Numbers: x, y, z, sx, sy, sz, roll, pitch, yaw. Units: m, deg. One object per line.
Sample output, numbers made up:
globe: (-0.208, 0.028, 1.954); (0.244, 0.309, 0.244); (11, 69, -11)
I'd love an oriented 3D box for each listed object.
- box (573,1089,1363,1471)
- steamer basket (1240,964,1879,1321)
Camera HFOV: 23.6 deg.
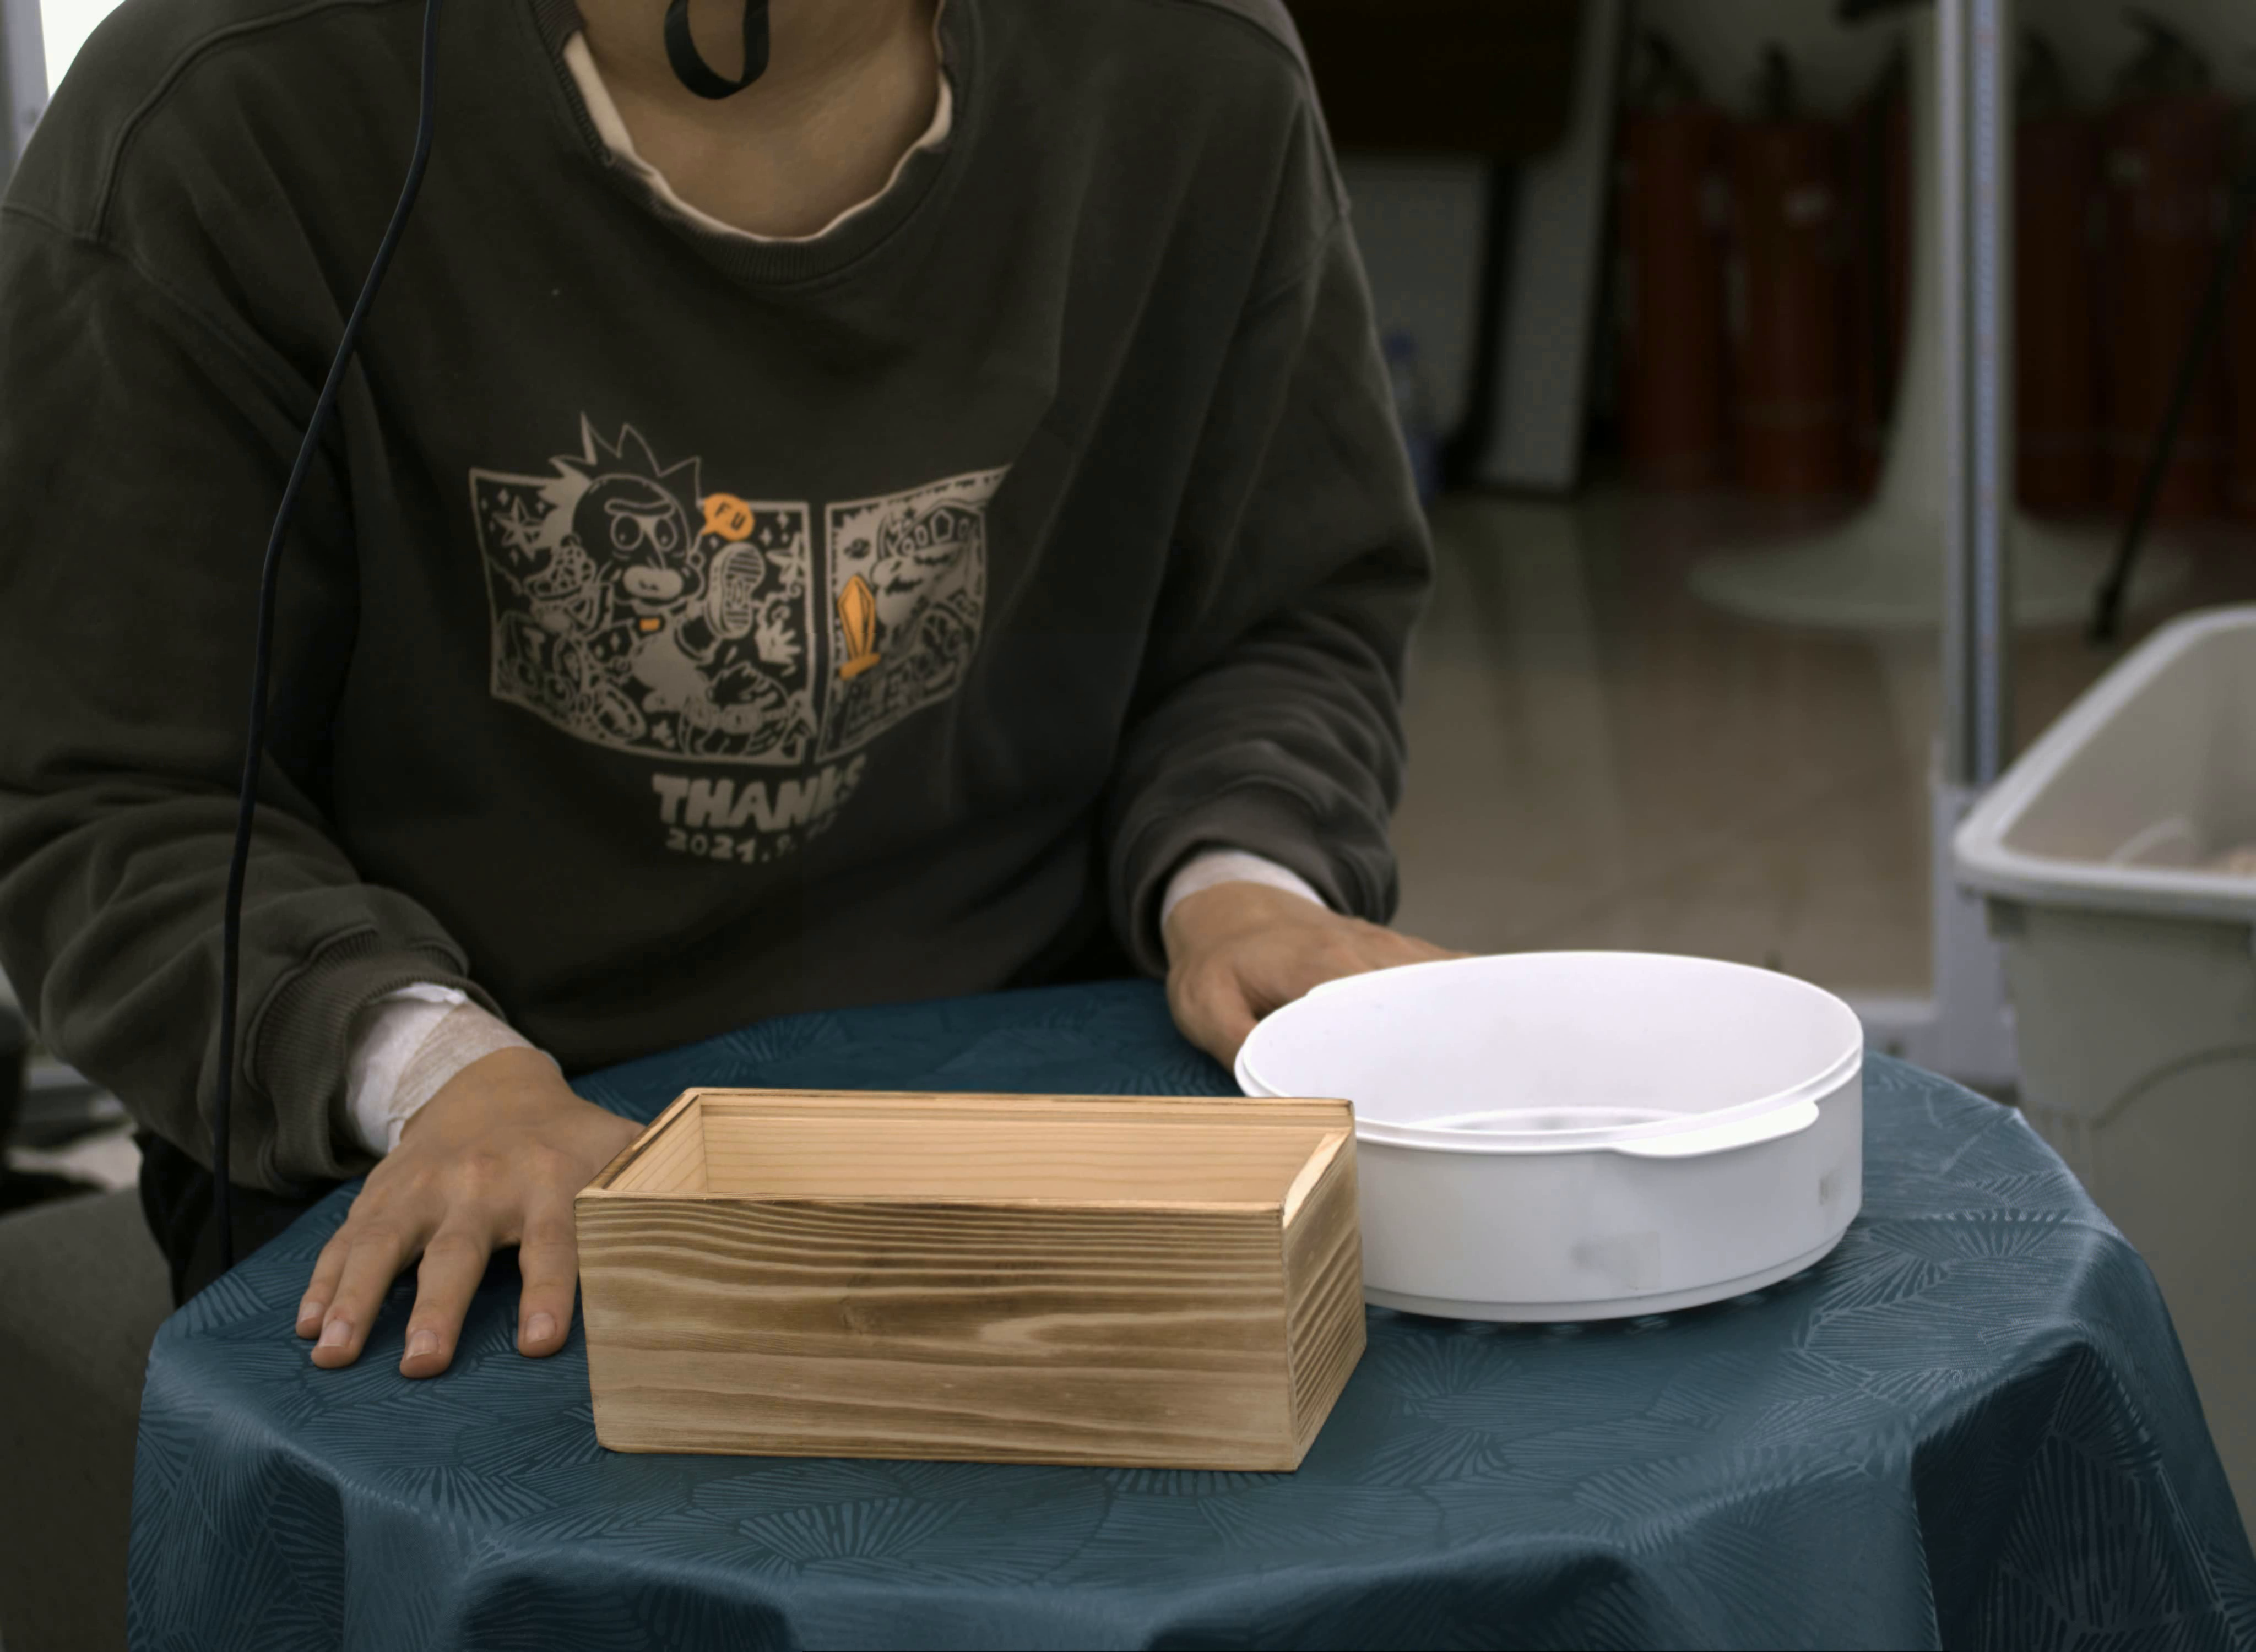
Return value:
box: (-0.044, 0.131, 1.579); (0.210, 0.081, 0.107); (0, 13, 15)
steamer basket: (0.136, 0.099, 1.684); (0.197, 0.070, 0.233); (-10, 13, -24)
